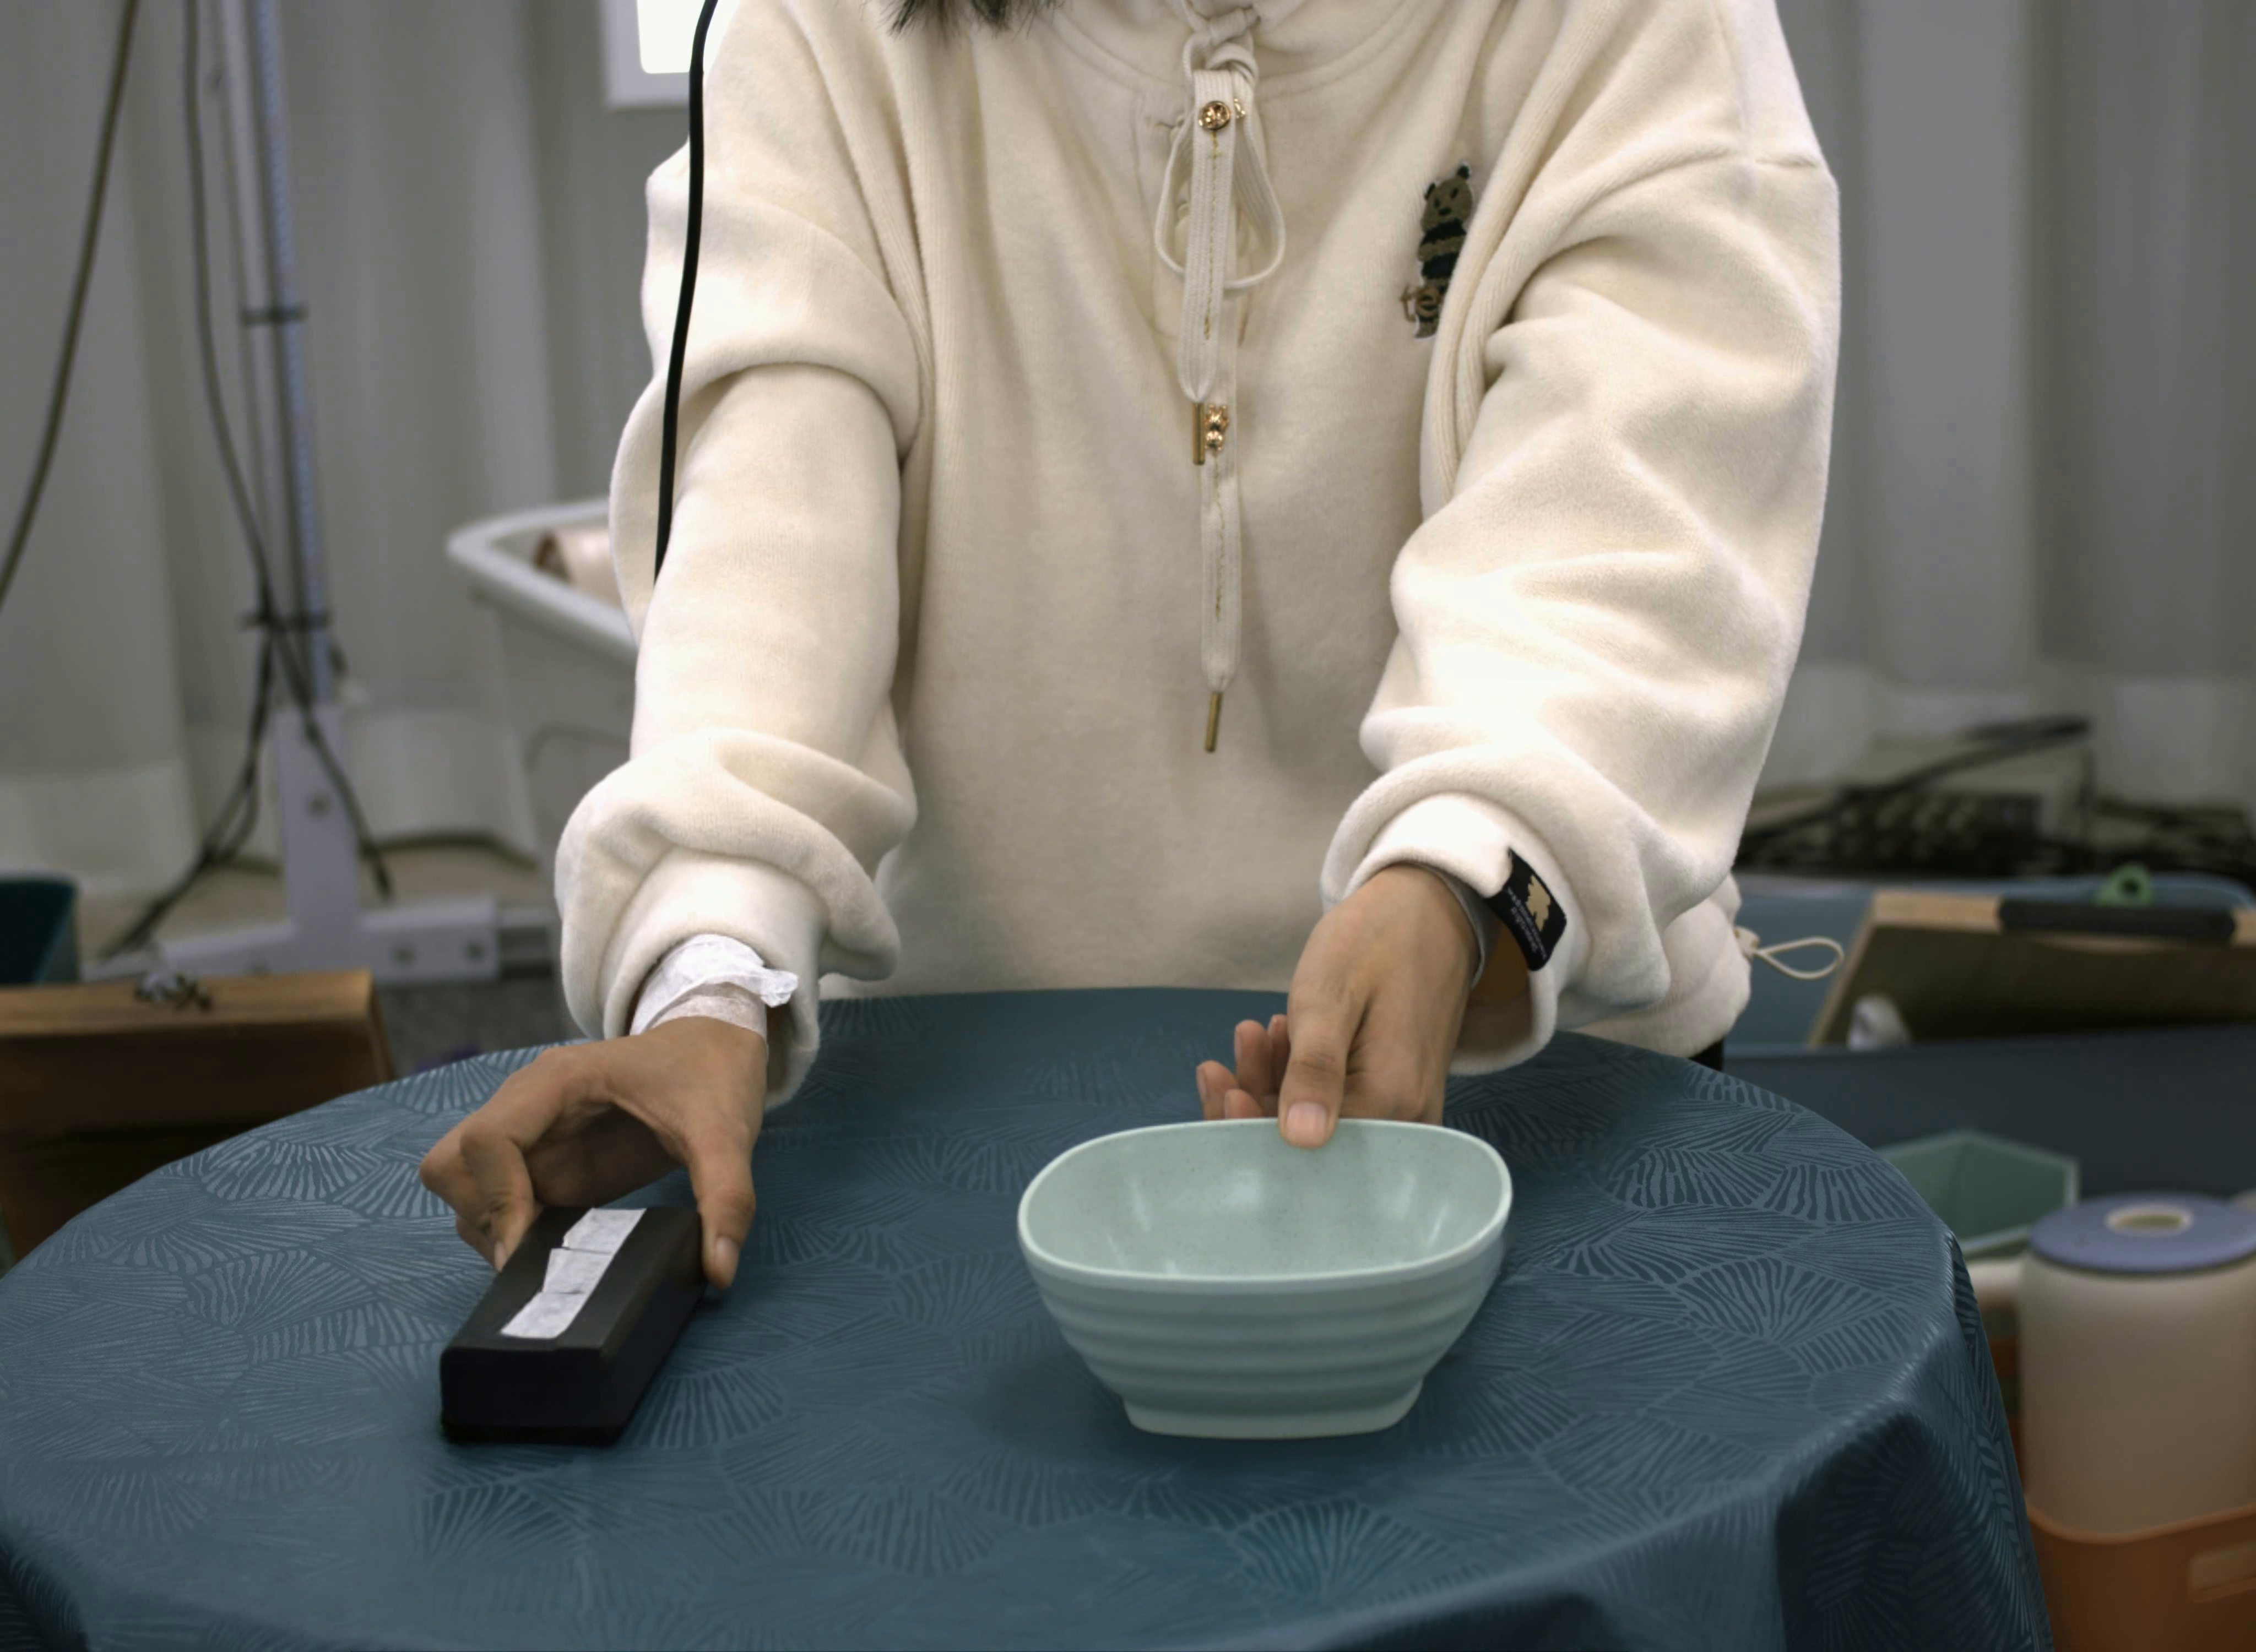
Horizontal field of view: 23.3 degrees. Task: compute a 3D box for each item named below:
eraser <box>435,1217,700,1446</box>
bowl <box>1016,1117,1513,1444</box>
[{"bbox_3d":[-0.160,0.145,1.579,0.053,0.030,0.126,1,13,6],"label":"eraser"},{"bbox_3d":[0.038,0.131,1.536,0.151,0.058,0.152,0,15,0],"label":"bowl"}]
